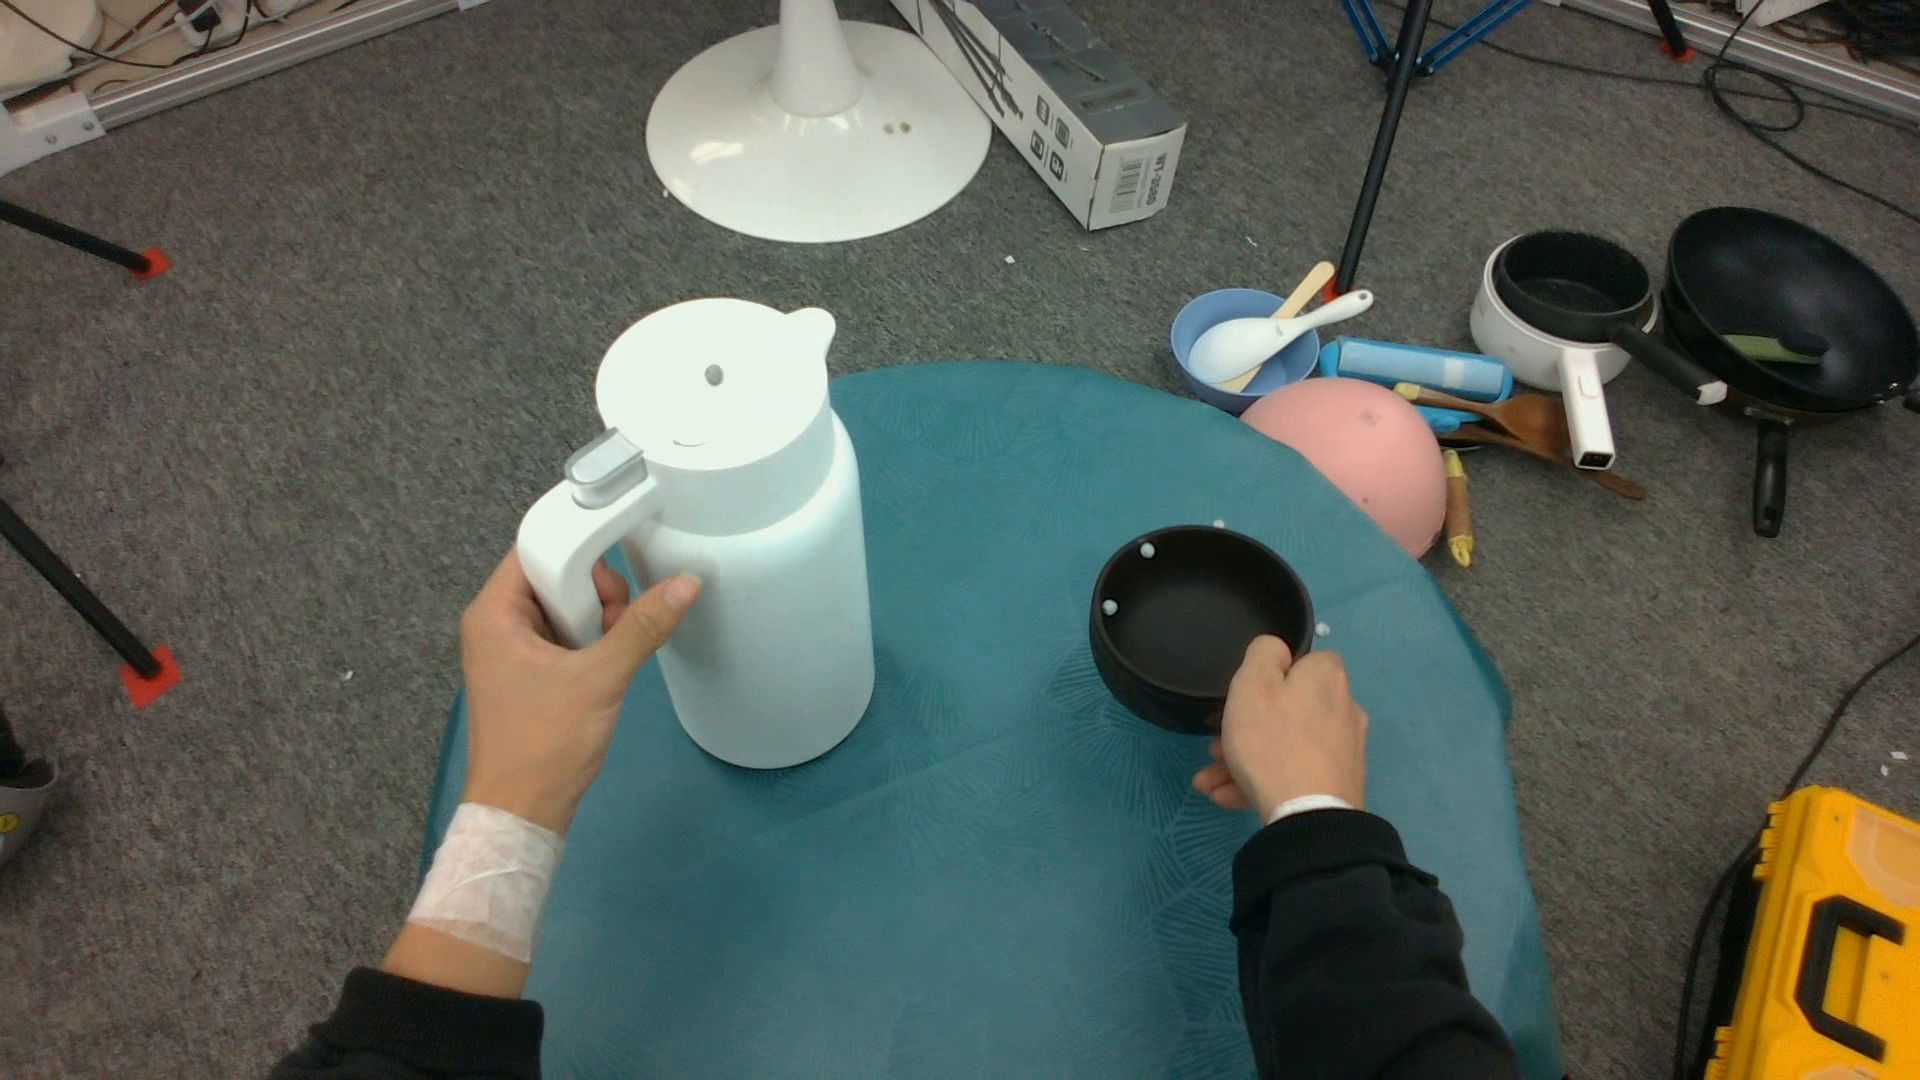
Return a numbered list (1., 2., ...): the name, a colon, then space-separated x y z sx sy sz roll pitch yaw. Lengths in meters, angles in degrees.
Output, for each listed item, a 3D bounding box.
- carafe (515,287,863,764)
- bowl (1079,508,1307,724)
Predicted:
1. carafe: -0.122 0.015 0.687 0.124 0.267 0.173 36 61 20
2. bowl: 0.122 0.048 0.742 0.118 0.069 0.118 0 52 1
